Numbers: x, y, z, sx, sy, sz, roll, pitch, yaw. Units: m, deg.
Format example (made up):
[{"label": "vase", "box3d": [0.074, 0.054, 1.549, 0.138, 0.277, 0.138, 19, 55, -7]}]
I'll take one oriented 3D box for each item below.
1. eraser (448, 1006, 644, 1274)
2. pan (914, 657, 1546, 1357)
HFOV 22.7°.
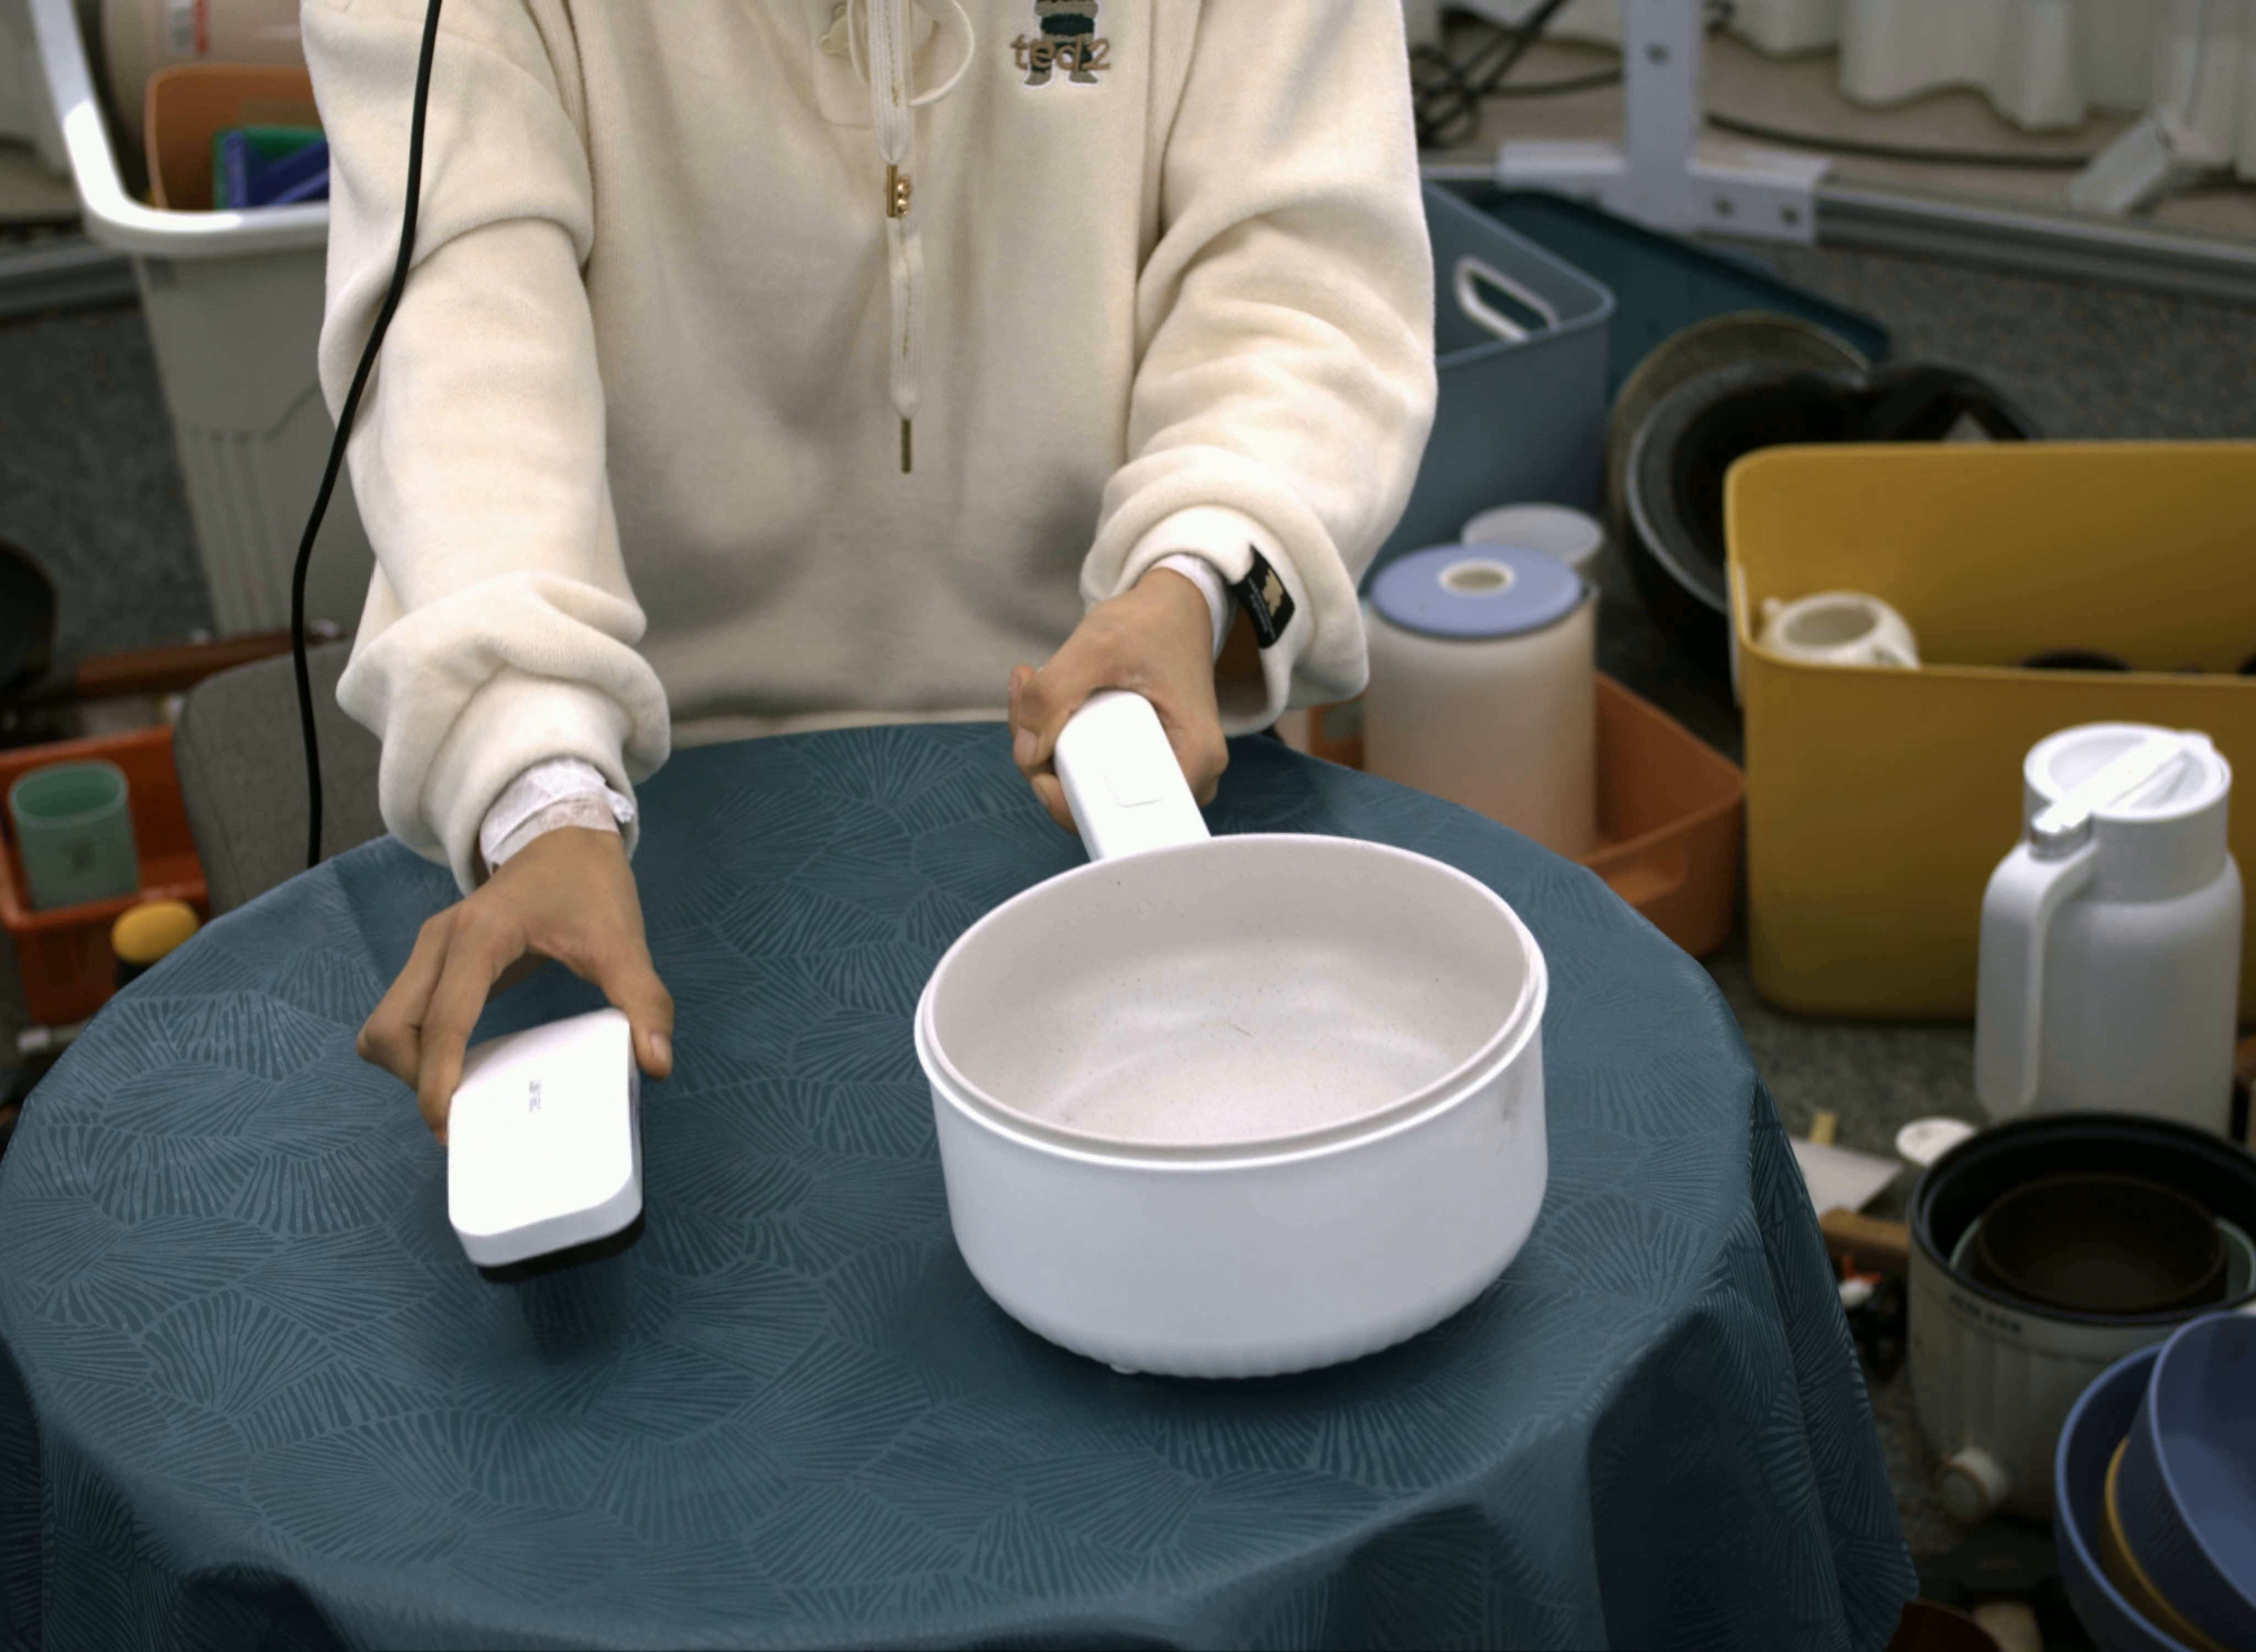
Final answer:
[{"label": "eraser", "box3d": [-0.186, 0.098, 1.816, 0.063, 0.034, 0.133, -14, 25, 1]}, {"label": "pan", "box3d": [0.021, 0.057, 1.865, 0.201, 0.101, 0.358, -8, 25, -8]}]
